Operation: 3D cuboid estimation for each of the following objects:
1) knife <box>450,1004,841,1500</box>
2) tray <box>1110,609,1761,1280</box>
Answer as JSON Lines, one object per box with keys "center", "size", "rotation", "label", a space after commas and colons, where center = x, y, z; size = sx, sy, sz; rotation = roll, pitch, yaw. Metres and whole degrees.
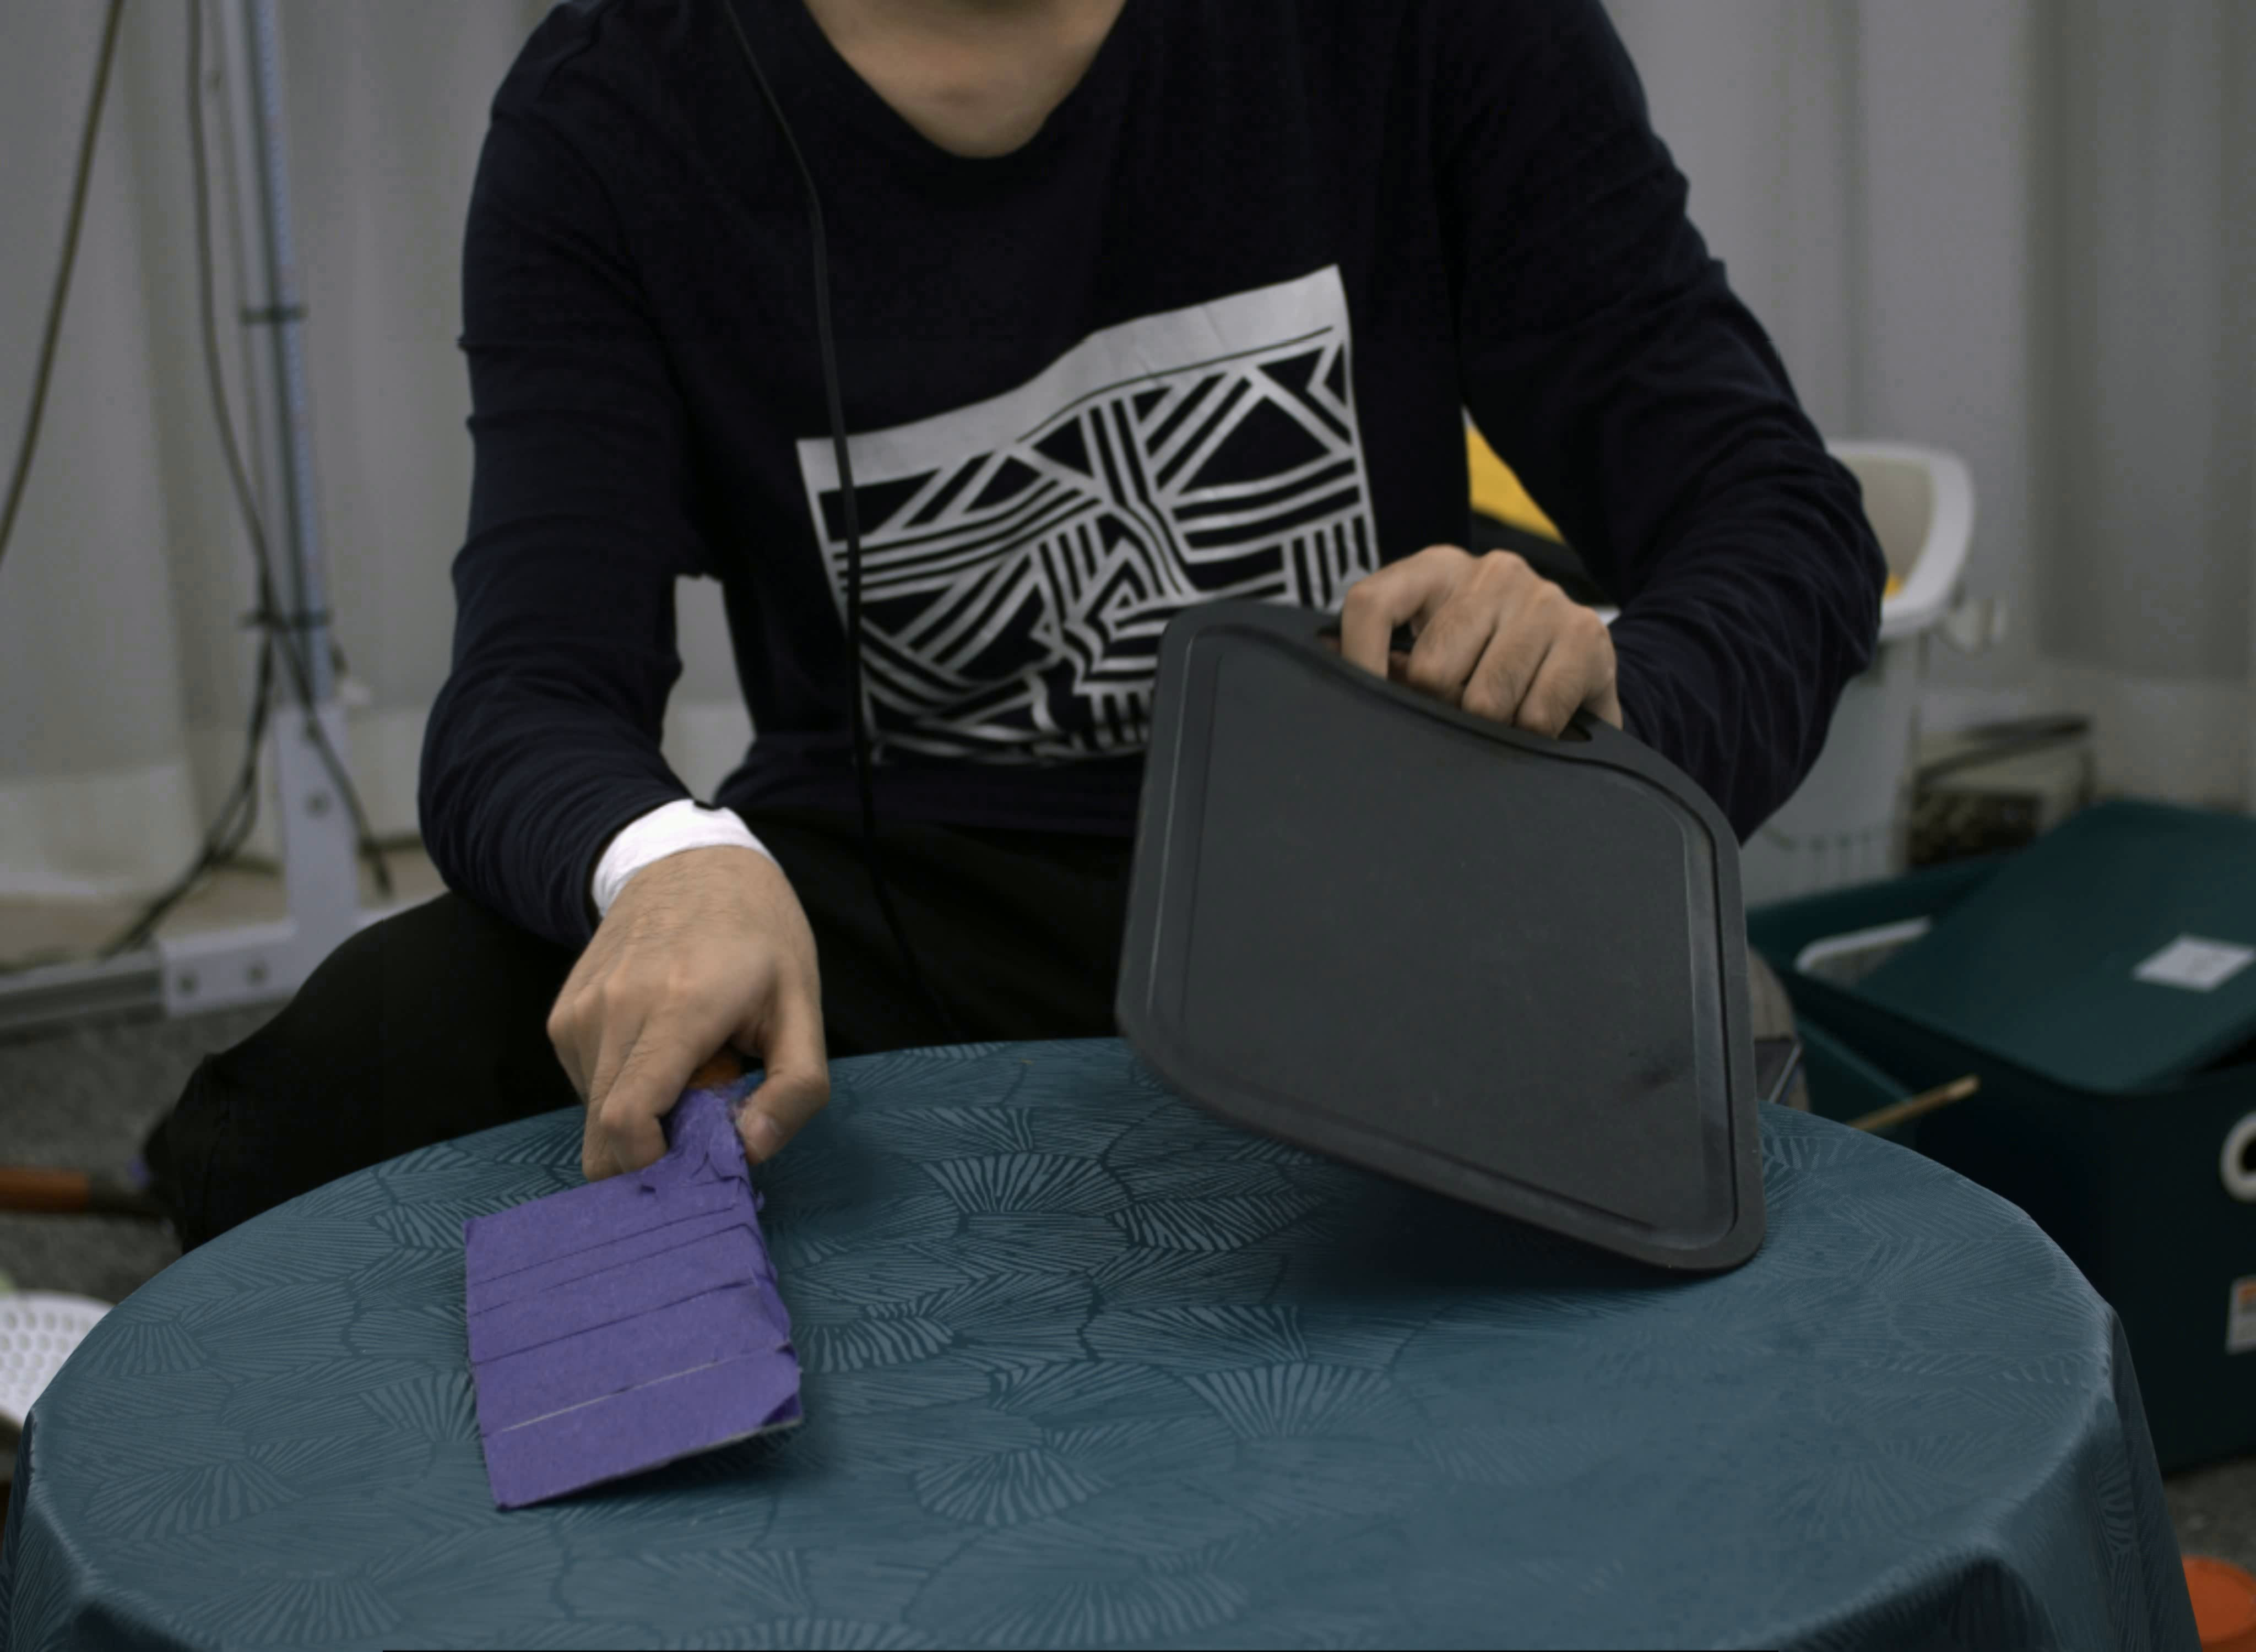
{"center": [-0.152, 0.122, 1.625], "size": [0.103, 0.032, 0.318], "rotation": [-15, 17, -5], "label": "knife"}
{"center": [0.100, 0.025, 1.734], "size": [0.210, 0.010, 0.329], "rotation": [18, 31, -6], "label": "tray"}
